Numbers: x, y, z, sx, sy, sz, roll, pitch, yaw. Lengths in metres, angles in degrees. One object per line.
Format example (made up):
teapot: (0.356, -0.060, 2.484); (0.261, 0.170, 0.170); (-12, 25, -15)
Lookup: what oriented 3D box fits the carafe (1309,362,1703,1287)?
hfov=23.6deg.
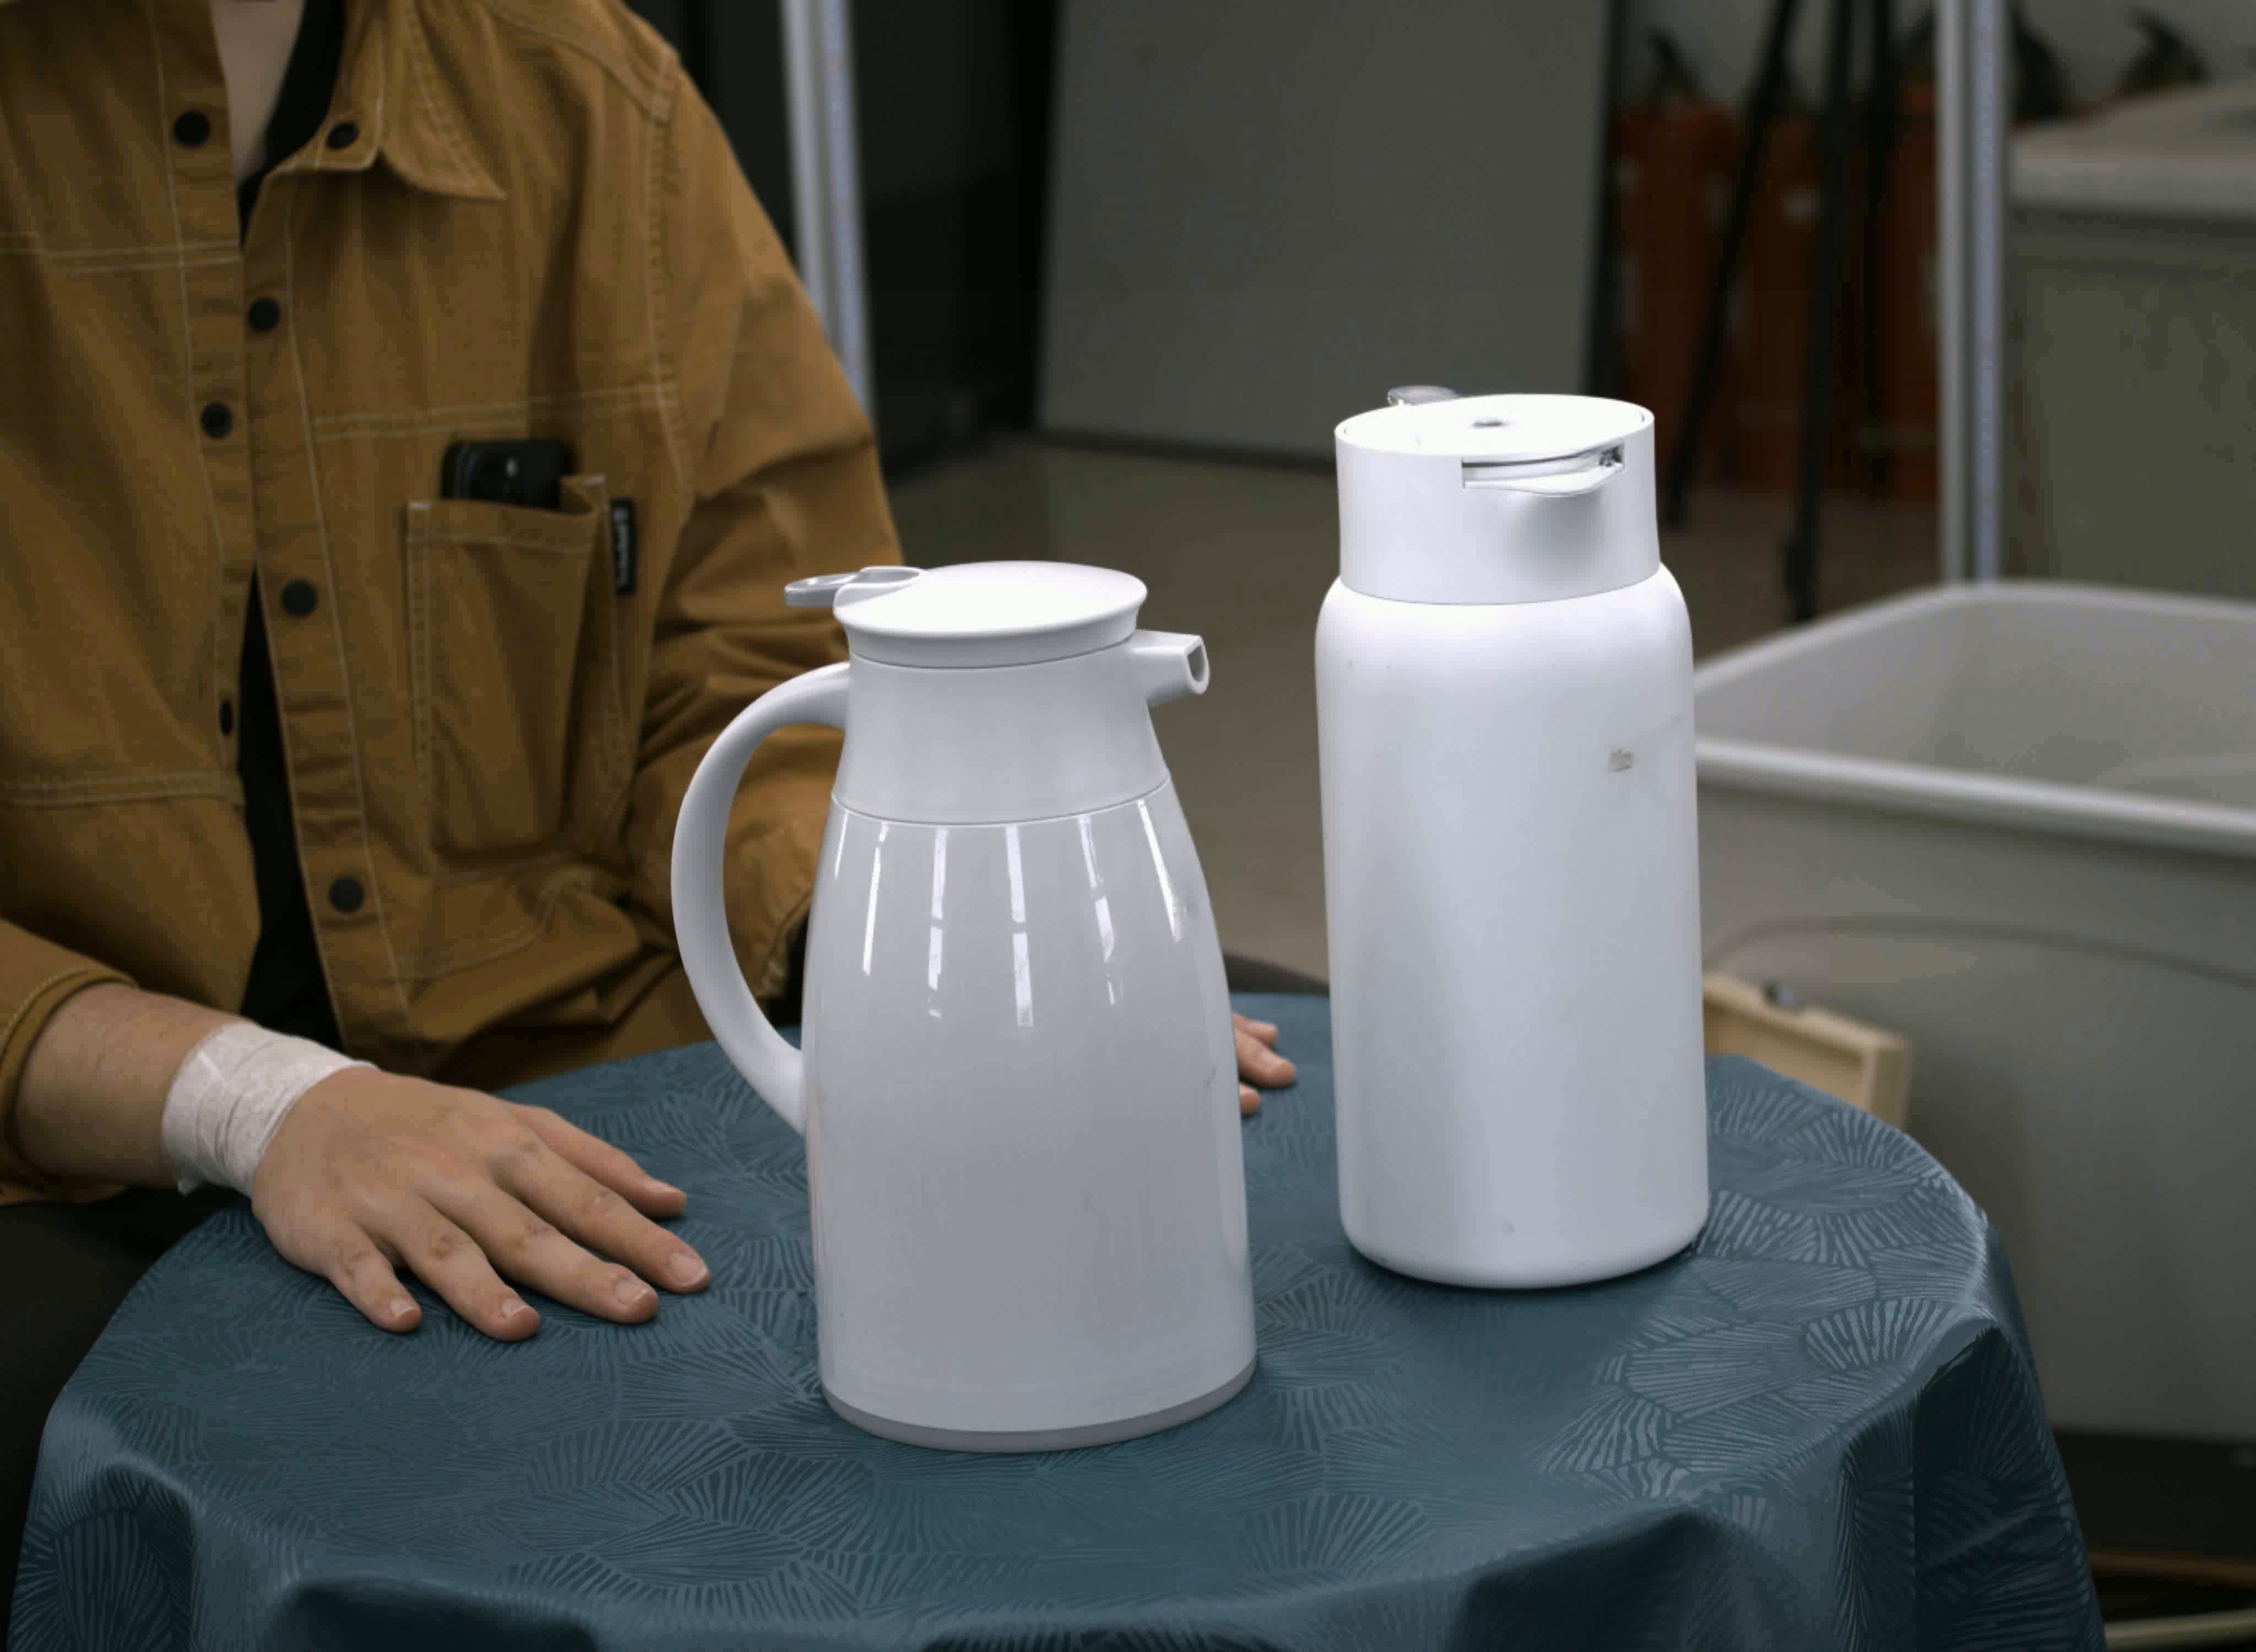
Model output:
carafe: (0.110, -0.004, 1.683); (0.121, 0.272, 0.174); (-10, 14, -16)

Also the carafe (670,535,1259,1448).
carafe: (-0.052, 0.042, 1.584); (0.167, 0.251, 0.131); (-1, 13, 18)
